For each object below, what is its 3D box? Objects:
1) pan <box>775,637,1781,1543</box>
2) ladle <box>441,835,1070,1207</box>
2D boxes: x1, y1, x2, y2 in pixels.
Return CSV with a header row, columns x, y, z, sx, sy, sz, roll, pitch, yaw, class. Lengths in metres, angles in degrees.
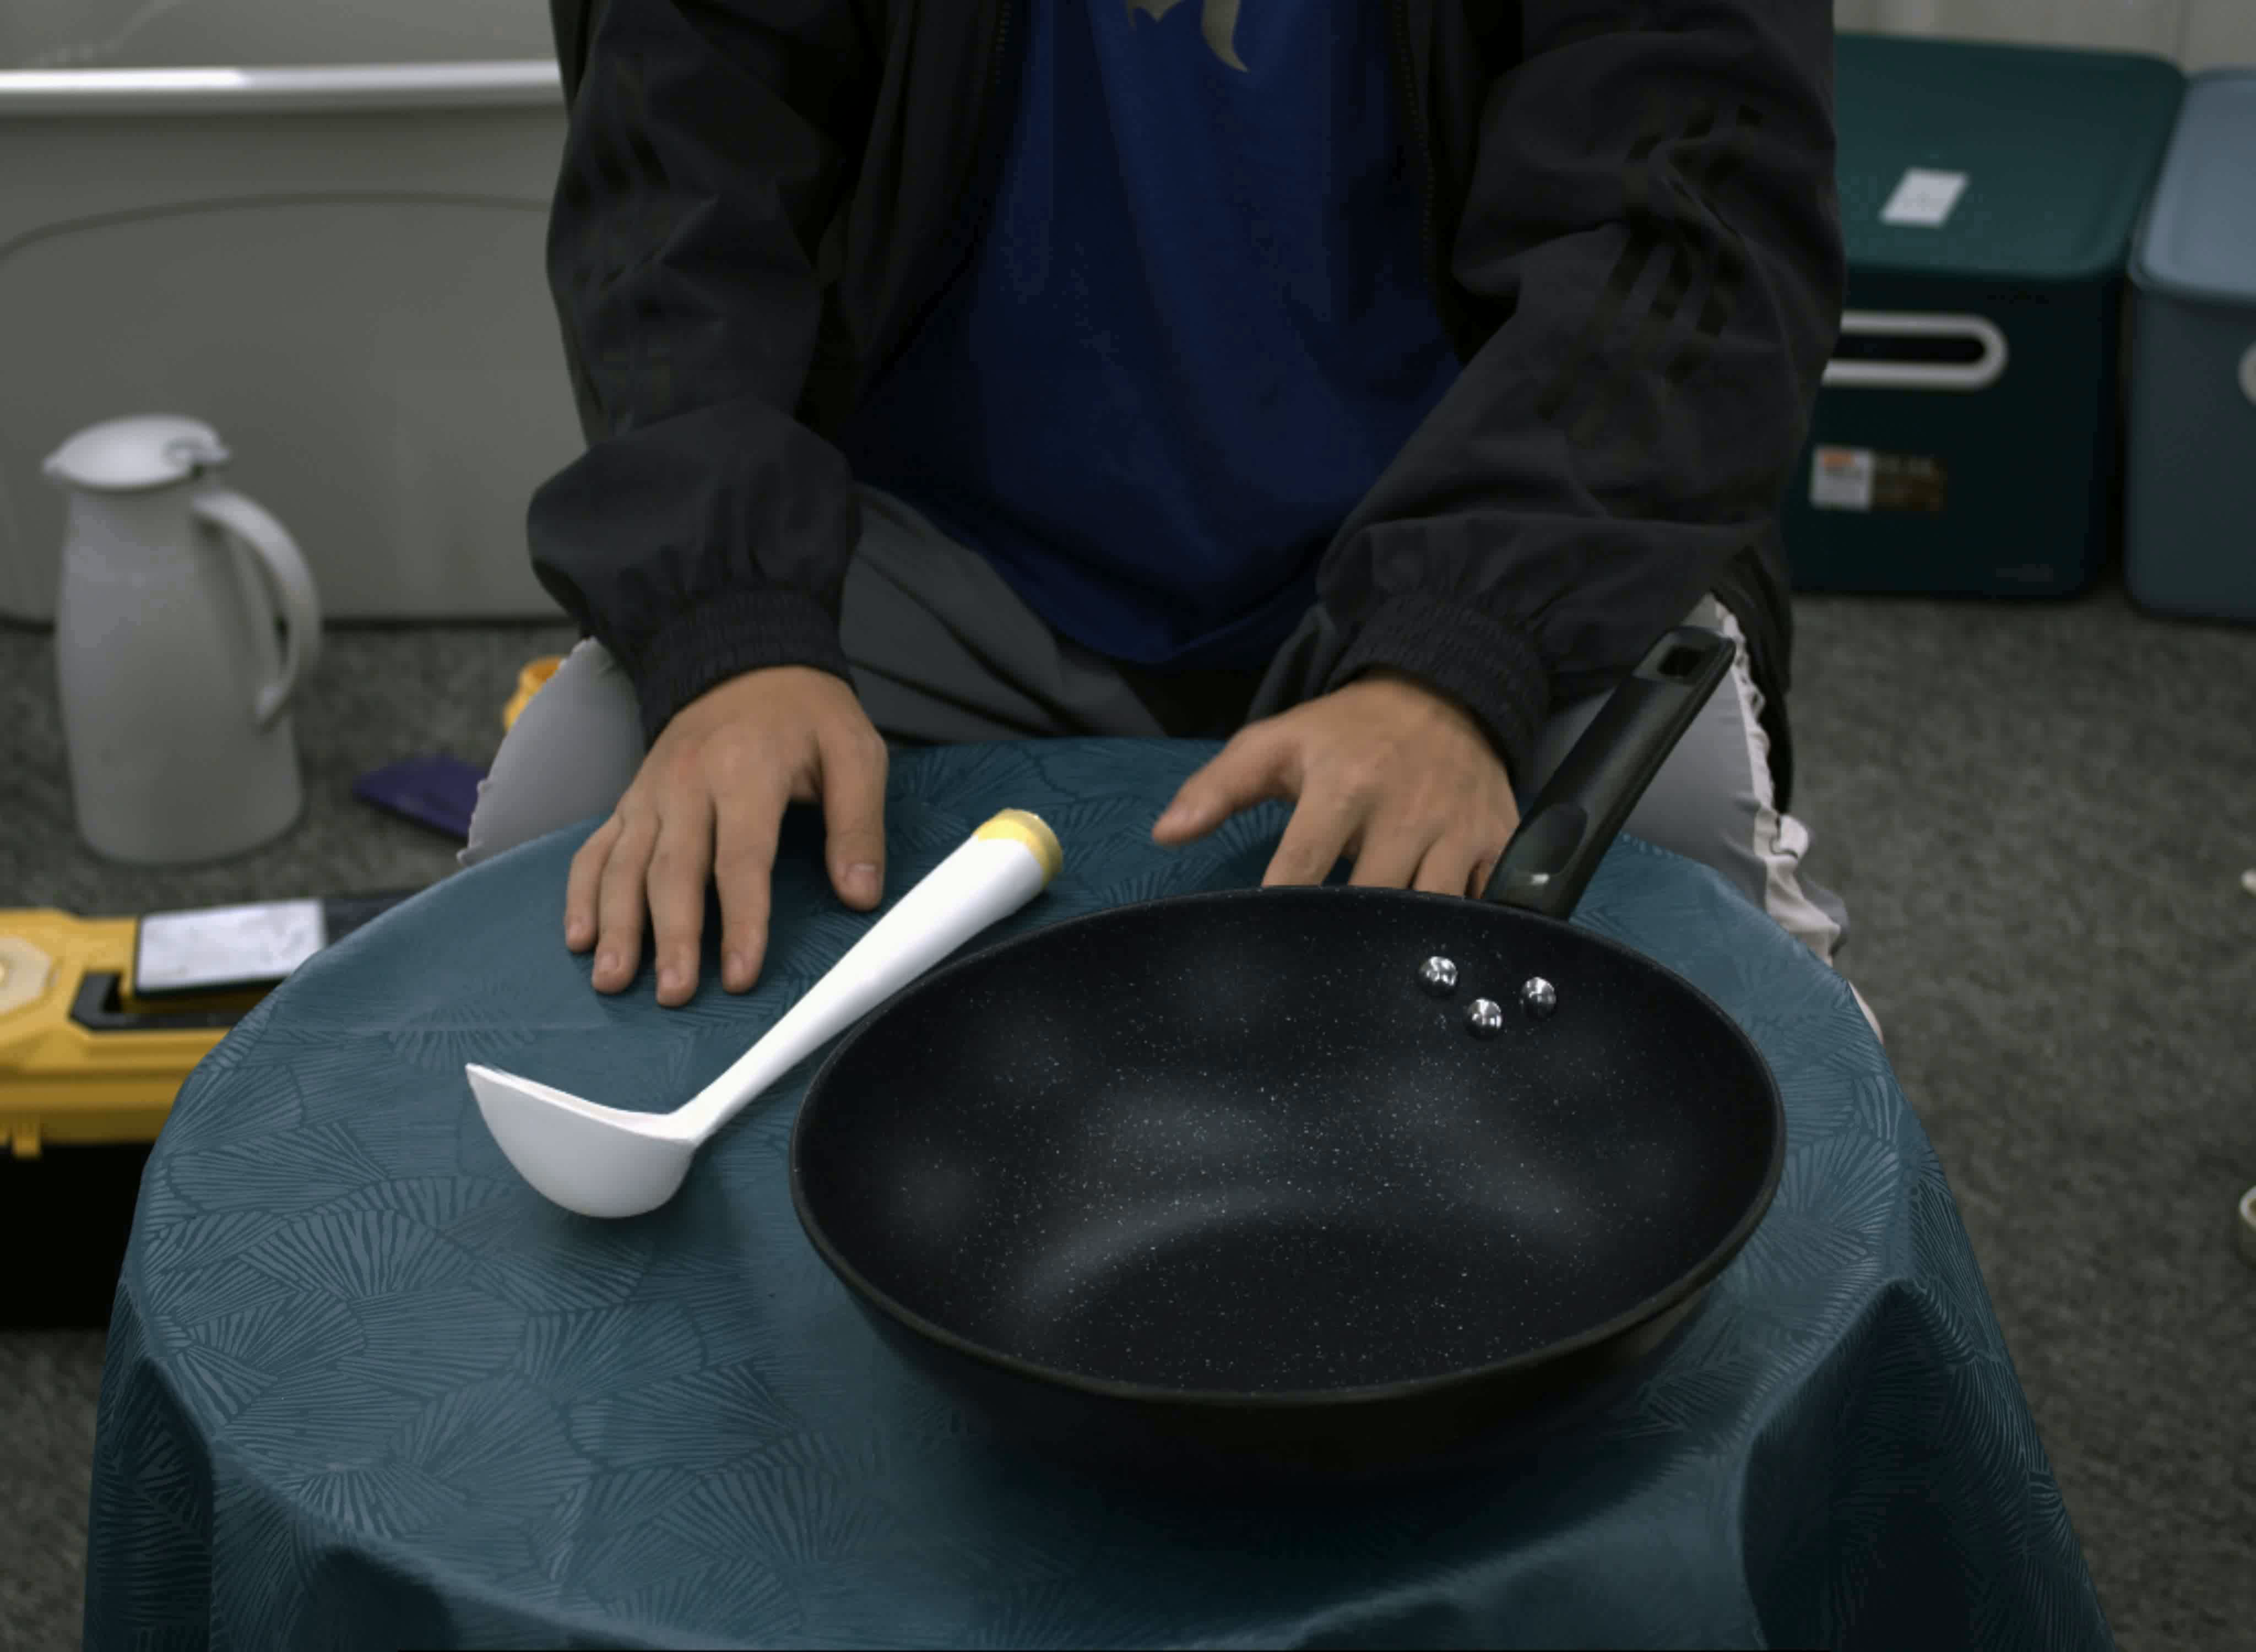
x,y,z,sx,sy,sz,roll,pitch,yaw,class
0.087,0.086,1.808,0.308,0.110,0.485,13,32,26,pan
-0.118,0.055,1.935,0.089,0.069,0.297,12,29,33,ladle
